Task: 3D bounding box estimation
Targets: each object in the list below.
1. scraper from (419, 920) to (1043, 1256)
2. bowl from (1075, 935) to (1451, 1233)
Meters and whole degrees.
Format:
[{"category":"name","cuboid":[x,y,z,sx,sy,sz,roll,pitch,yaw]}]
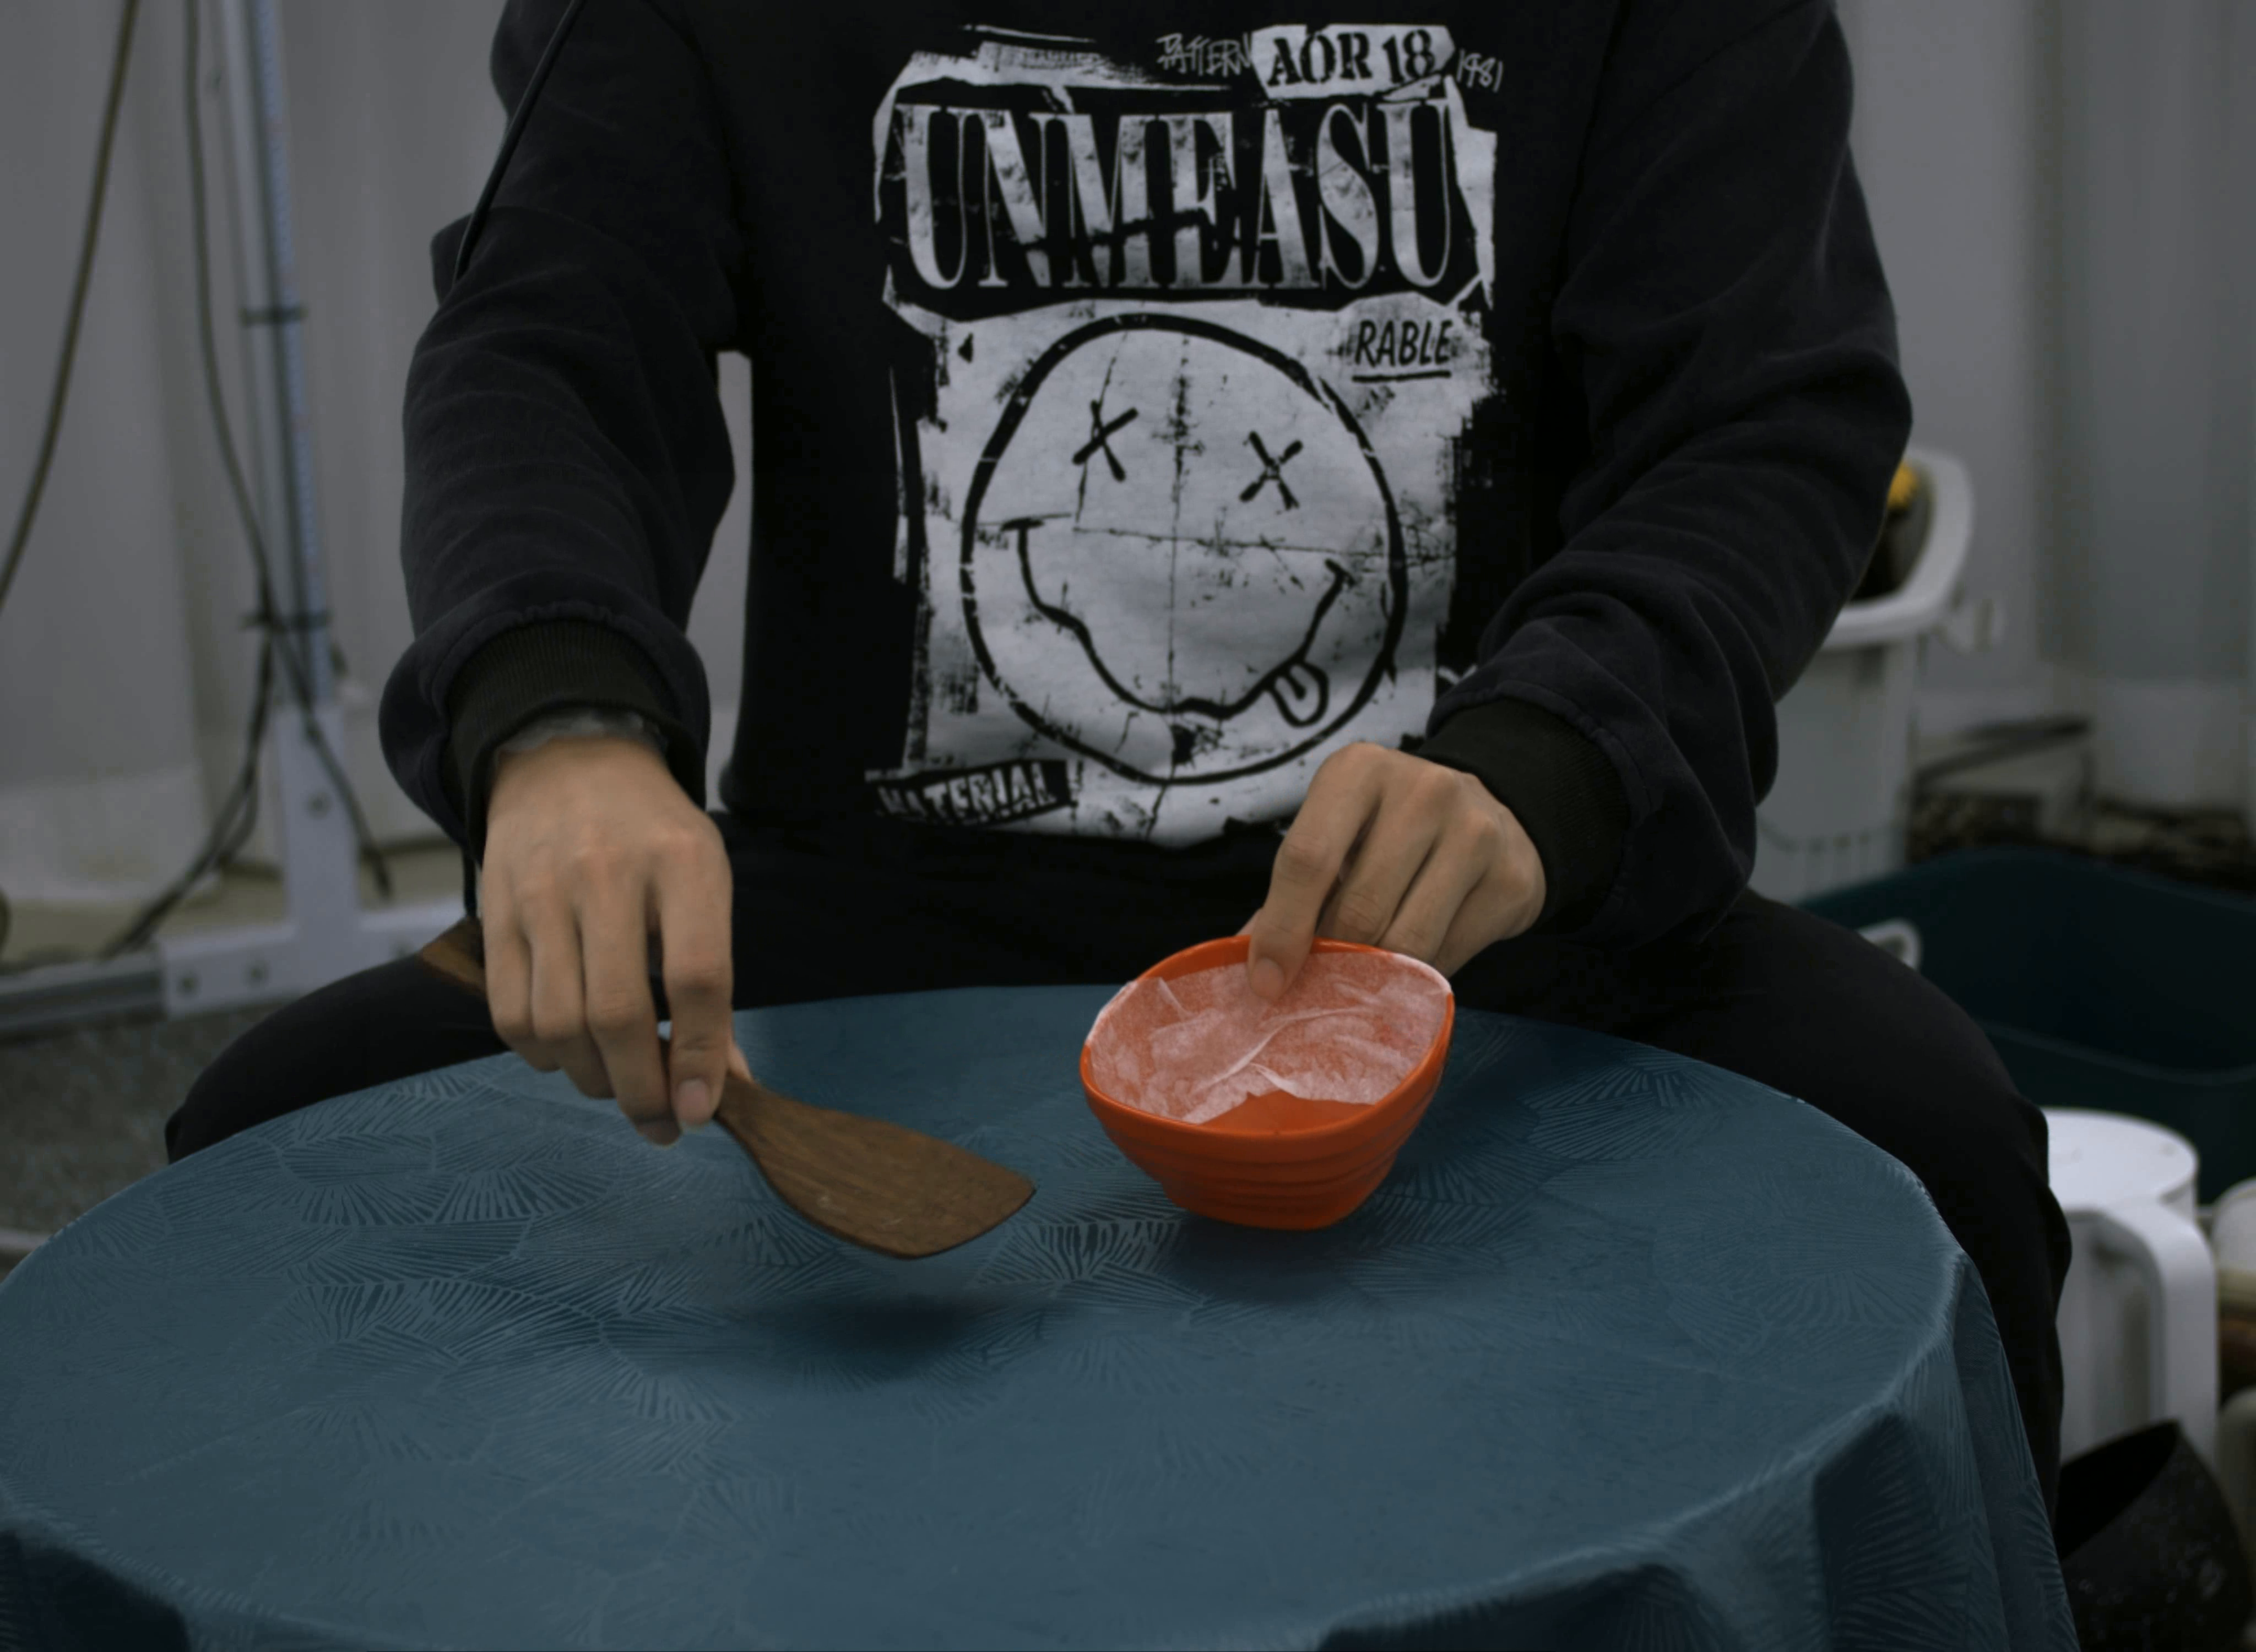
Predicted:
[{"category":"scraper","cuboid":[-0.125,0.076,1.638,0.212,0.011,0.076,26,28,23]},{"category":"bowl","cuboid":[0.044,0.084,1.678,0.118,0.051,0.120,-6,30,3]}]
